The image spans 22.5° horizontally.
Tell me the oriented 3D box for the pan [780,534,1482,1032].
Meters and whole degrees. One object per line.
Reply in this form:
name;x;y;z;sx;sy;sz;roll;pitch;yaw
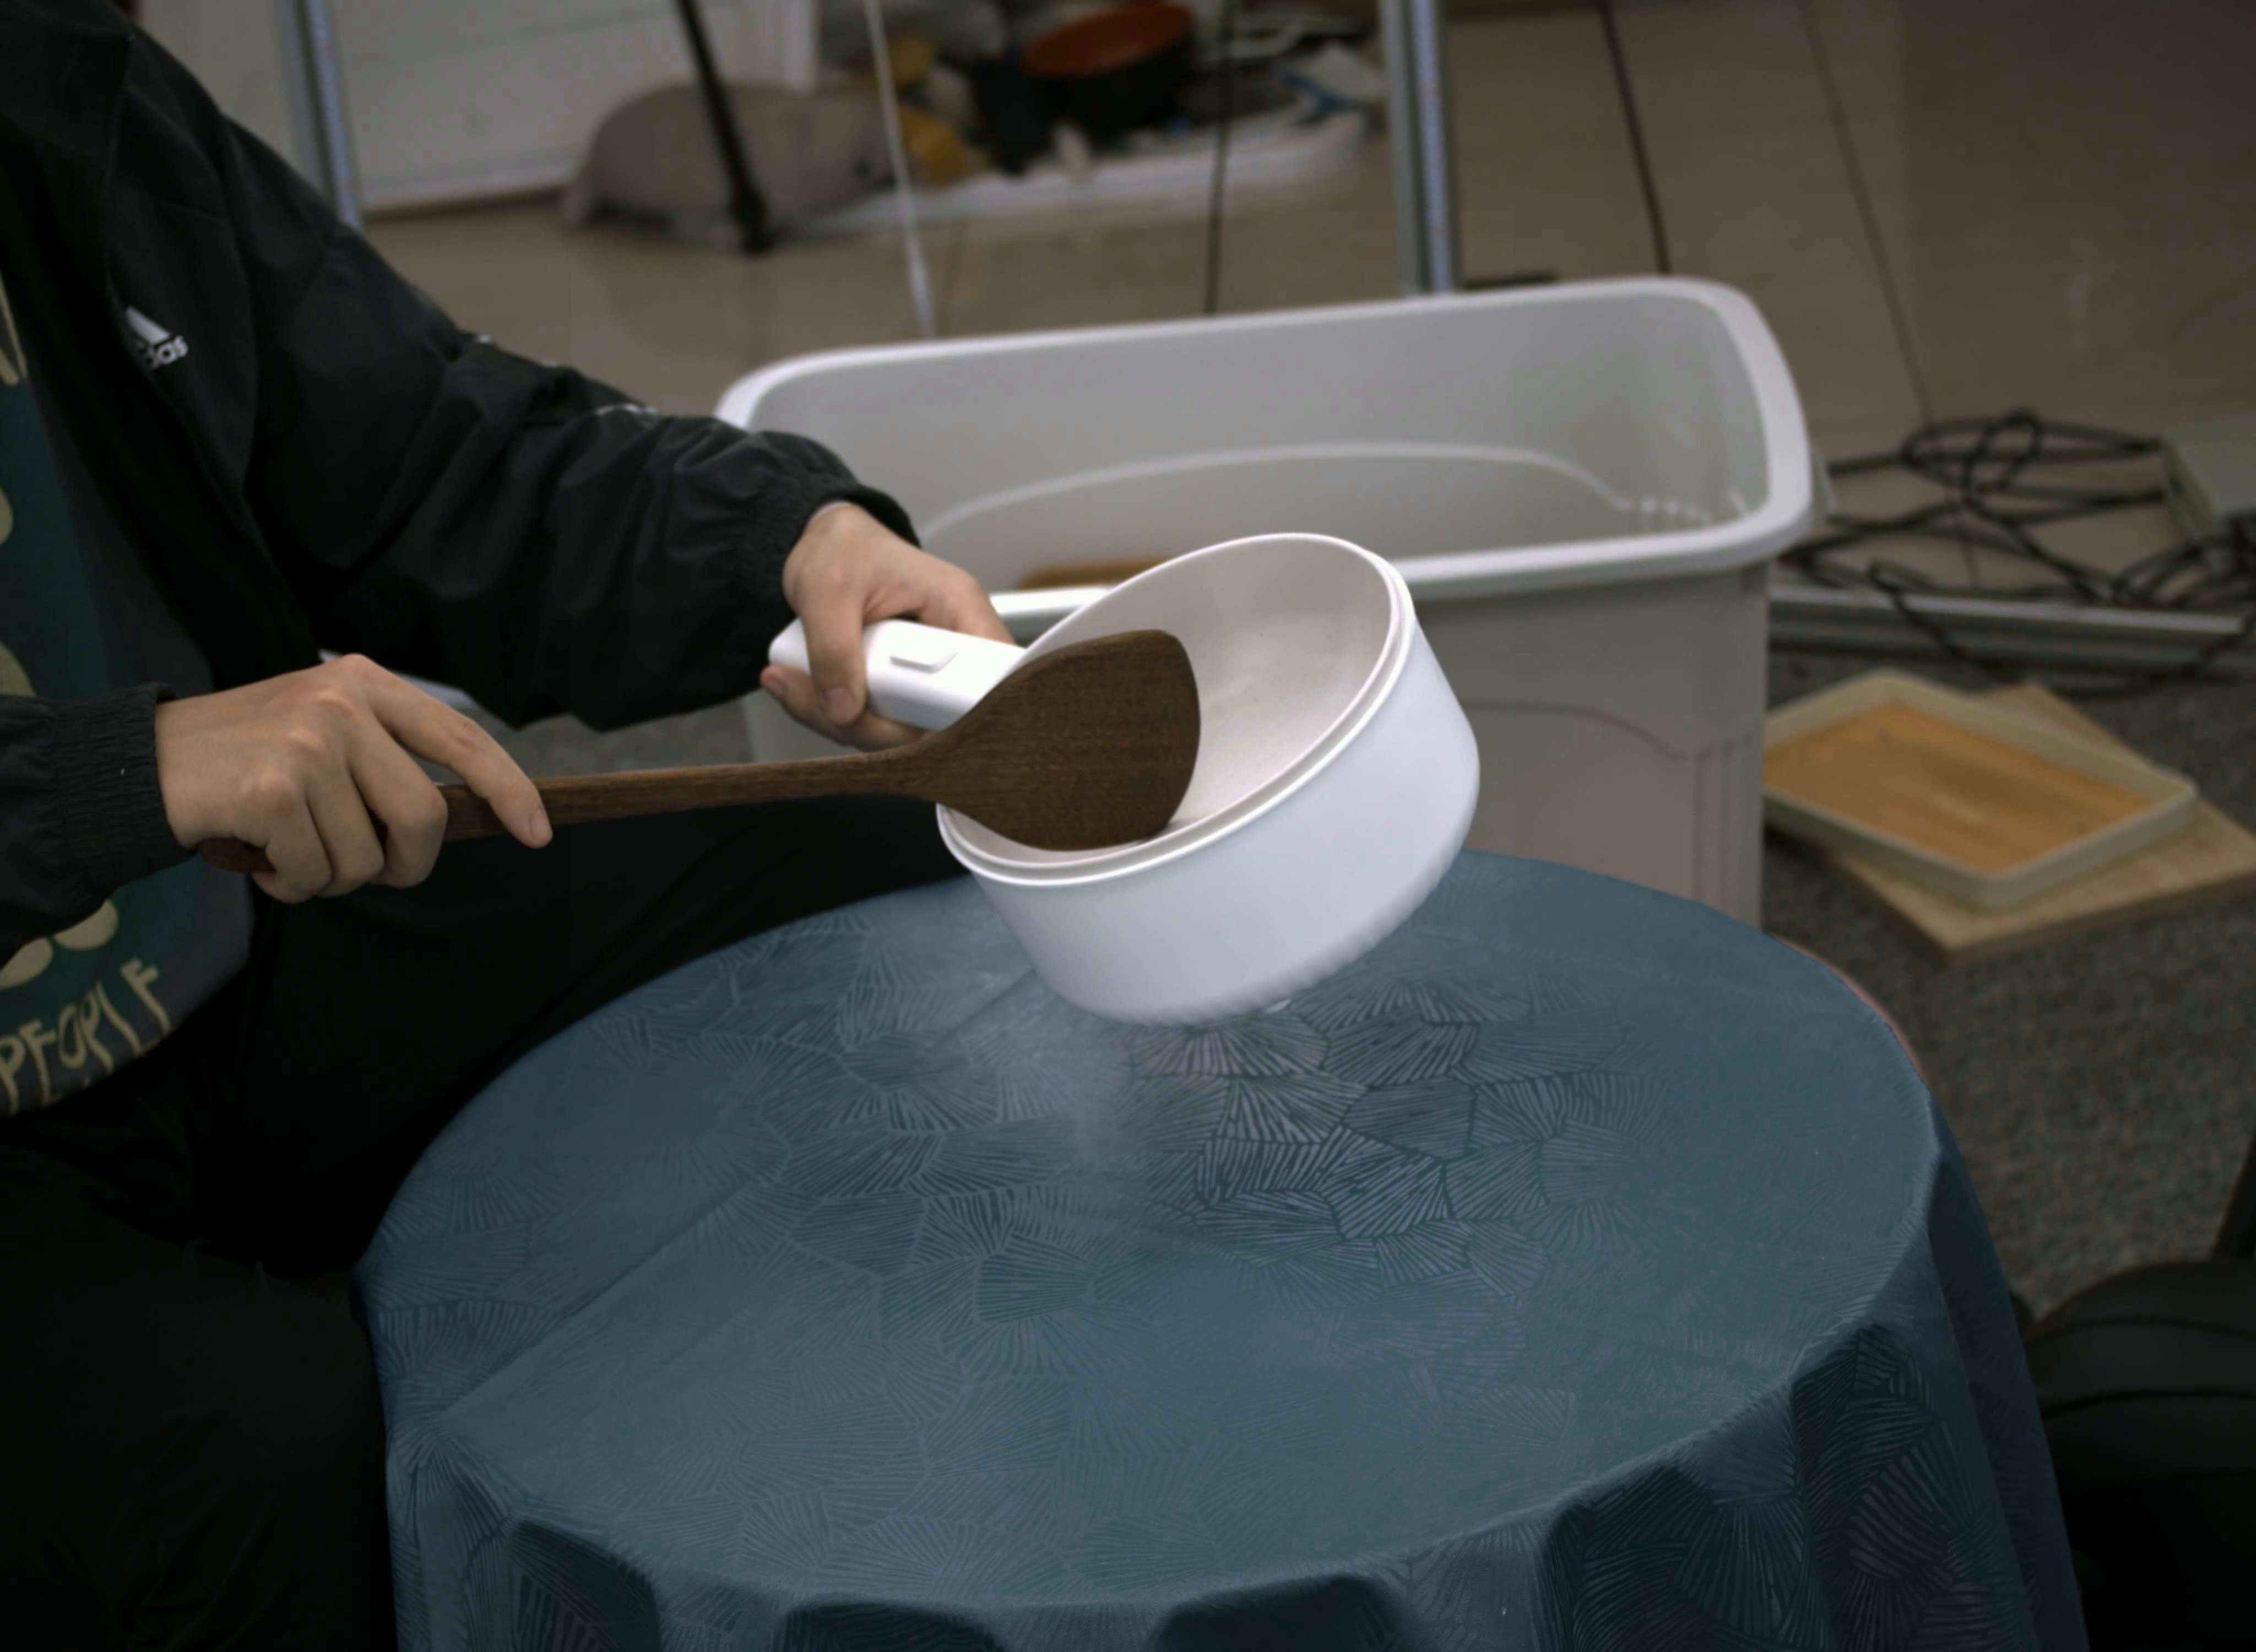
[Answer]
pan;-0.009;-0.022;2.235;0.199;0.103;0.353;-46;32;-22

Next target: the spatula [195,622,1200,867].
spatula;-0.158;-0.018;2.131;0.385;0.098;0.015;-6;34;-13
